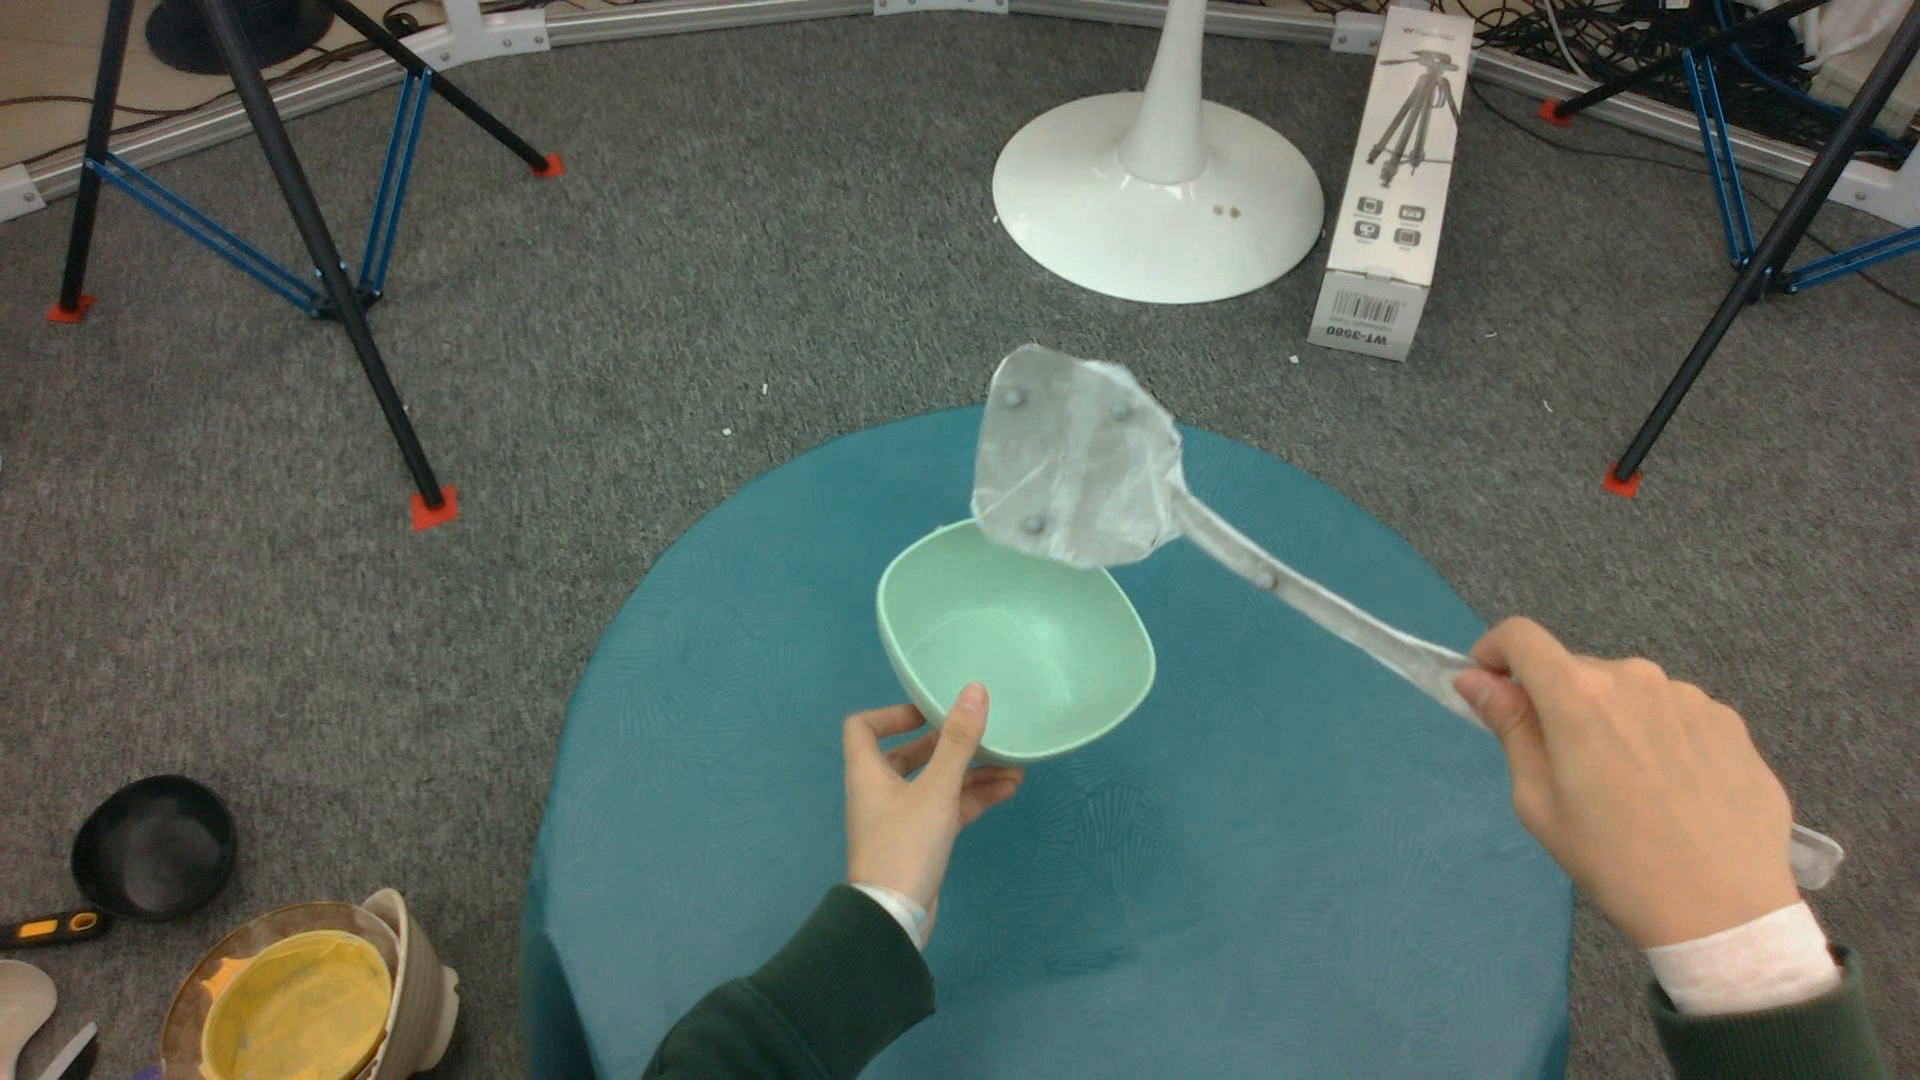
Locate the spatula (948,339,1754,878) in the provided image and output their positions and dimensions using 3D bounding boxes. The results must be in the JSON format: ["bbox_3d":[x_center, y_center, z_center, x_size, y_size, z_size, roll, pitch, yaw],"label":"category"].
[{"bbox_3d":[0.131,0.023,0.547,0.045,0.098,0.365,-11,34,-42],"label":"spatula"}]

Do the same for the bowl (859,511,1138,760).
[{"bbox_3d":[0.013,0.057,0.719,0.151,0.058,0.152,12,49,-14],"label":"bowl"}]
